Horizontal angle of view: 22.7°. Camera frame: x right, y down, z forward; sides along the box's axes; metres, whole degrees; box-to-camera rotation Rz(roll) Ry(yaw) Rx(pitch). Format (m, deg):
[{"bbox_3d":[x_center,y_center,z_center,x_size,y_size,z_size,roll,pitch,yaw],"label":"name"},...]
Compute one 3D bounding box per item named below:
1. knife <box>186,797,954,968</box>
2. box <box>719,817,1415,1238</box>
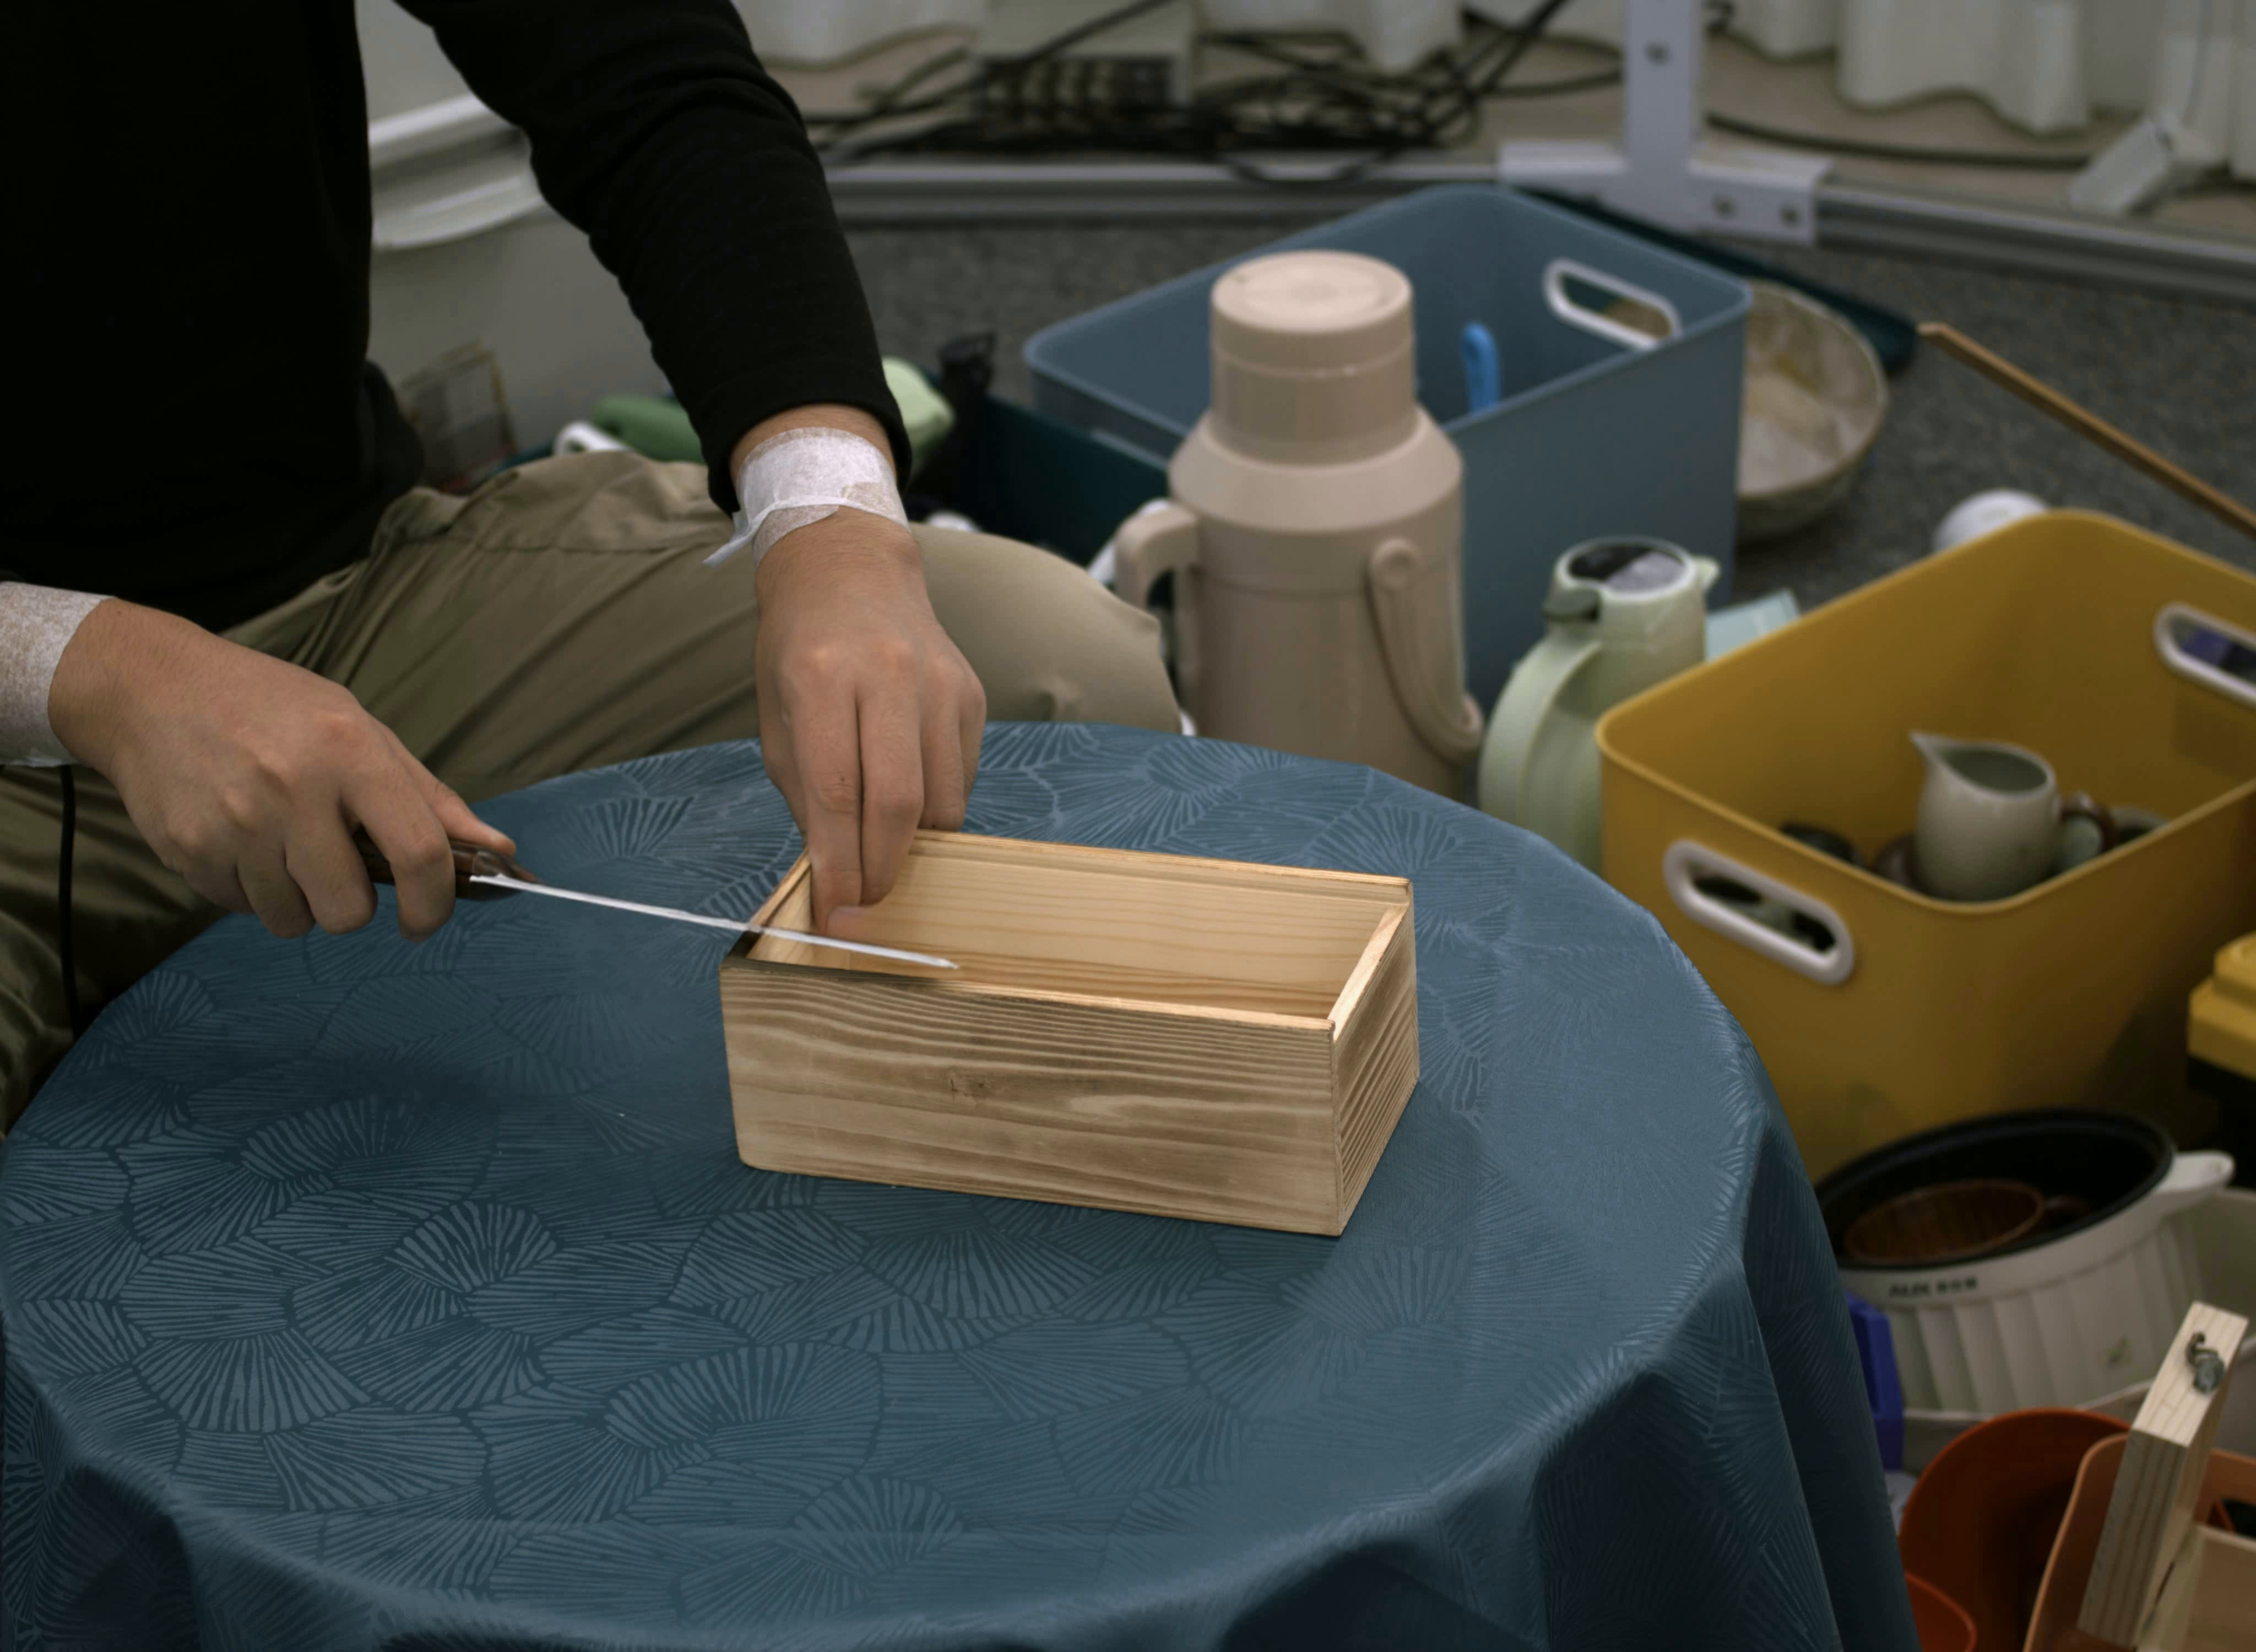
[{"bbox_3d":[-0.189,0.023,1.873,0.287,0.020,0.050,10,2,19],"label":"knife"},{"bbox_3d":[-0.019,0.066,1.885,0.210,0.079,0.109,6,28,16],"label":"box"}]
